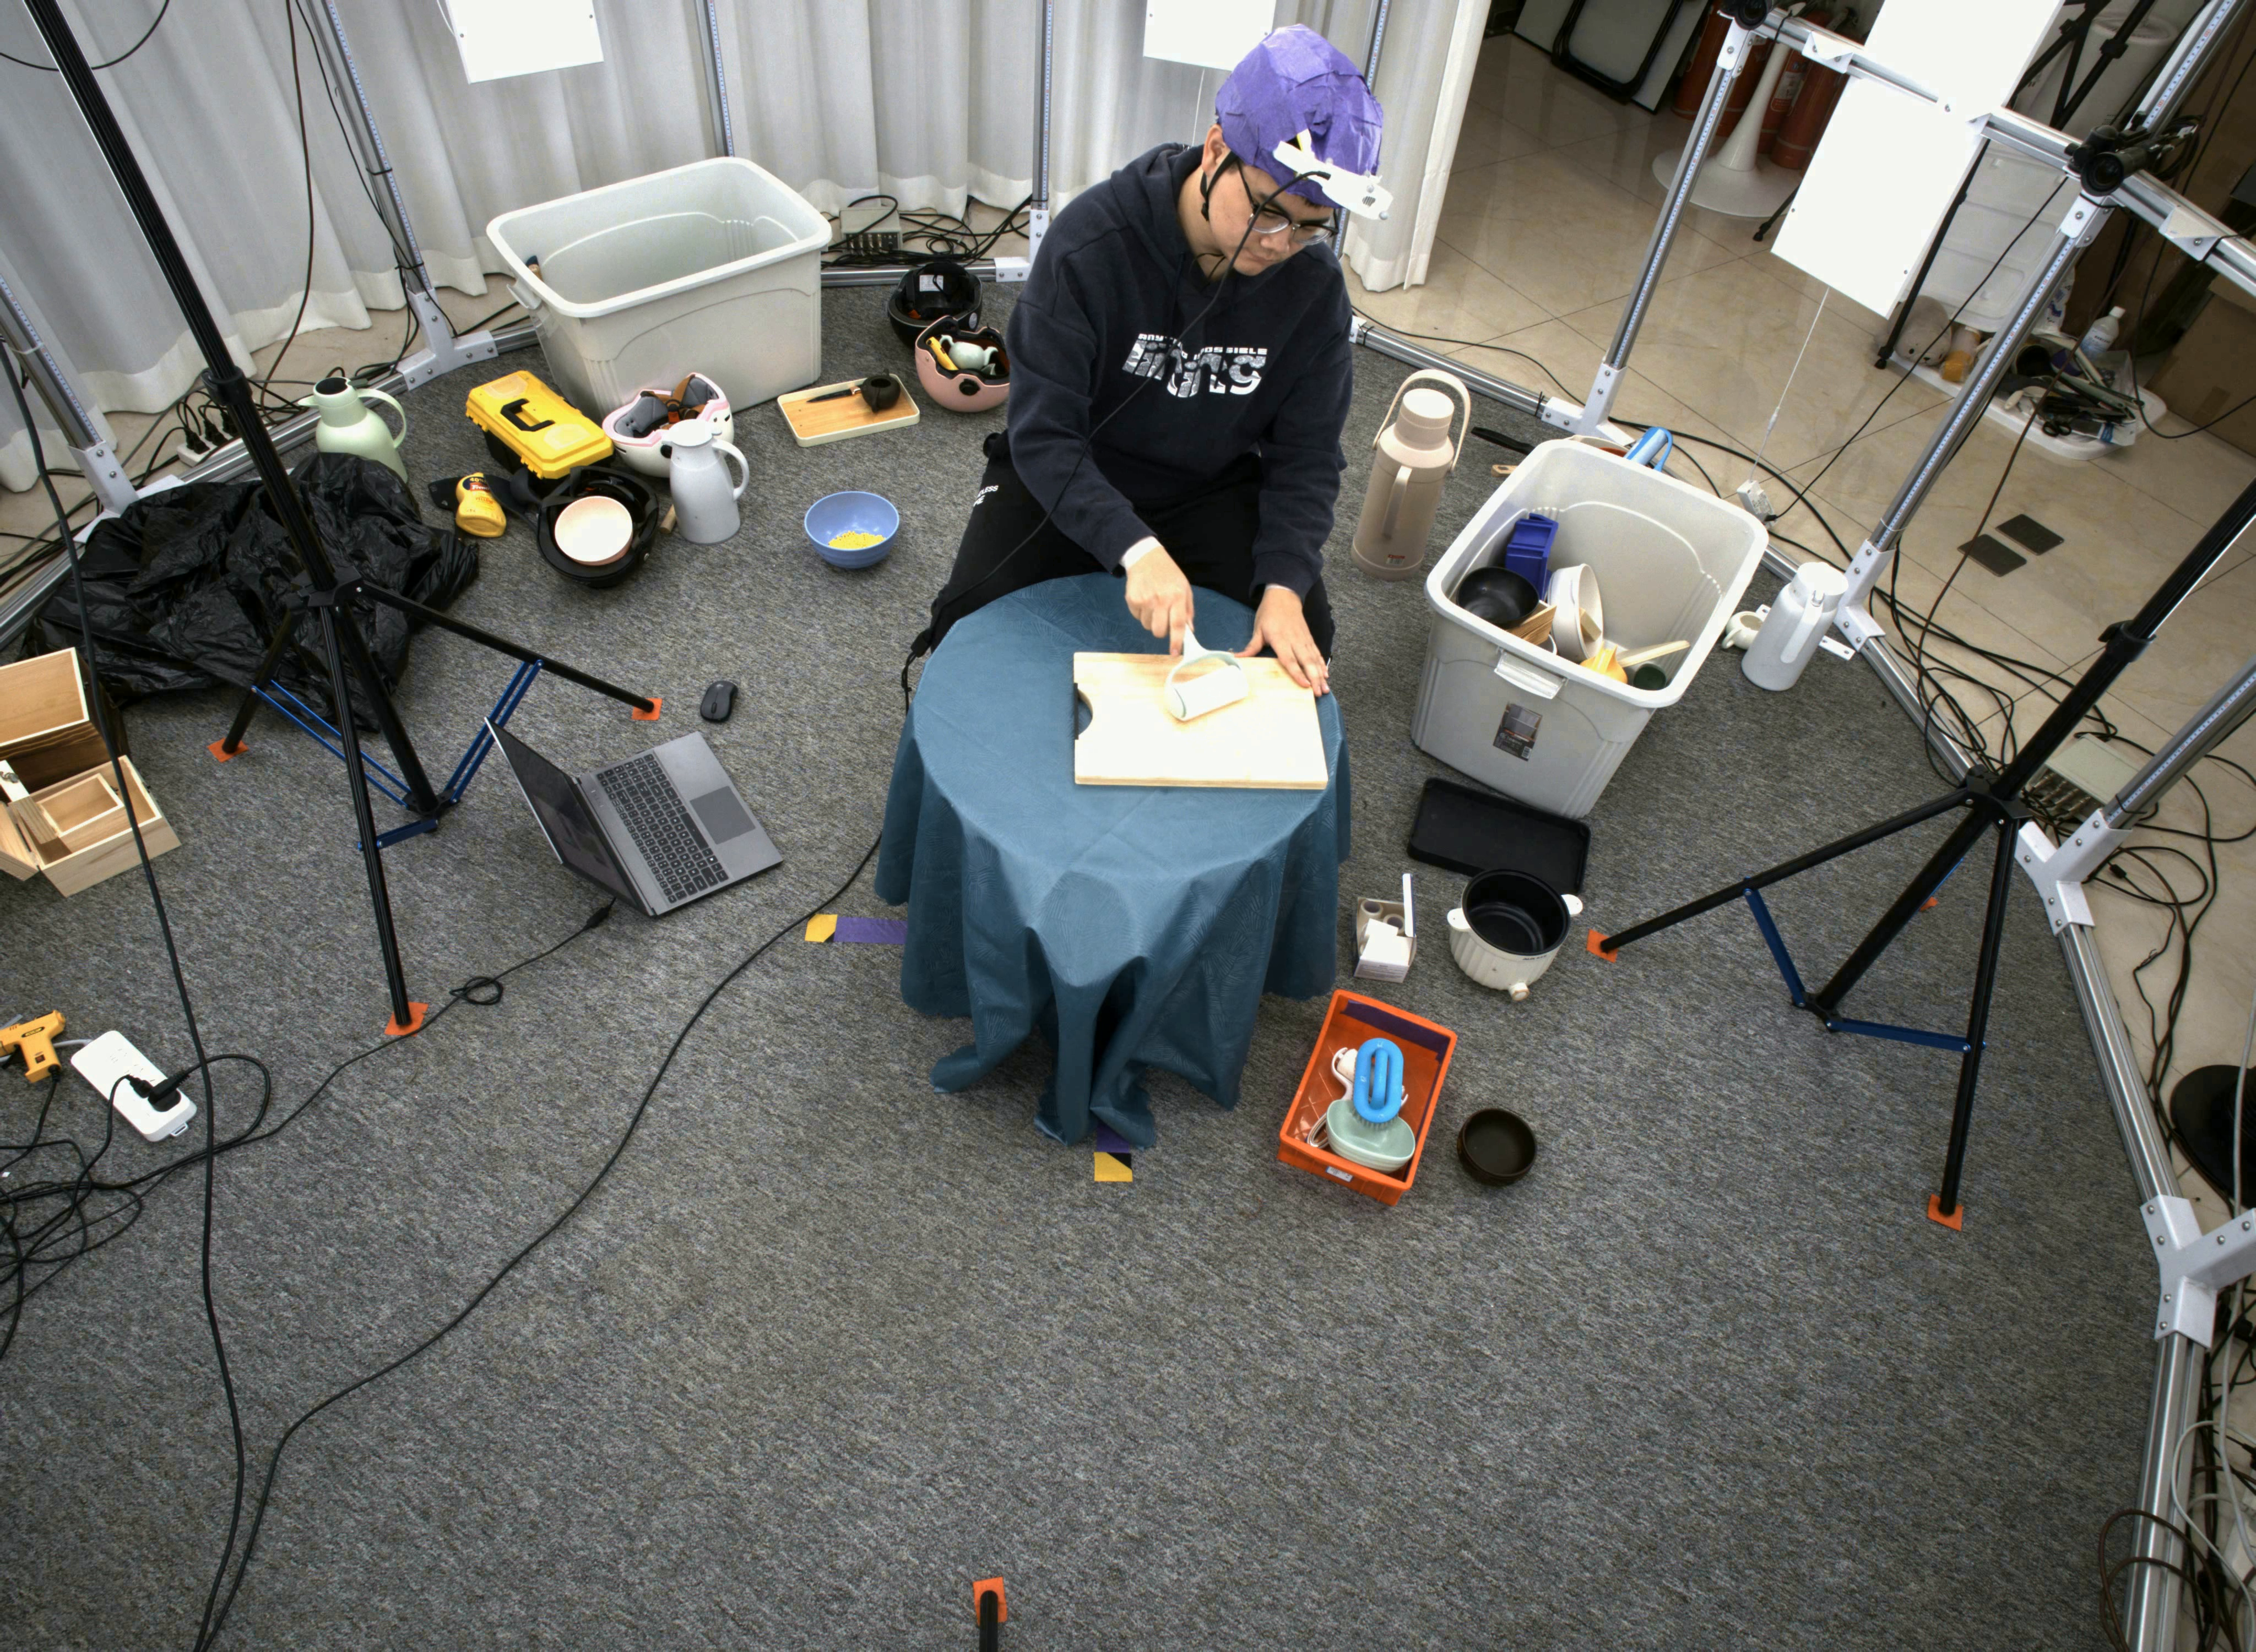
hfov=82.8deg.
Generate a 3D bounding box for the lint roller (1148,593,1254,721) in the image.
[{"bbox_3d":[0.087,-0.251,1.800,0.117,0.048,0.199,-23,77,-20],"label":"lint roller"}]

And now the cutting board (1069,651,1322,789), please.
[{"bbox_3d":[0.090,-0.151,1.793,0.348,0.023,0.257,0,48,-4],"label":"cutting board"}]
